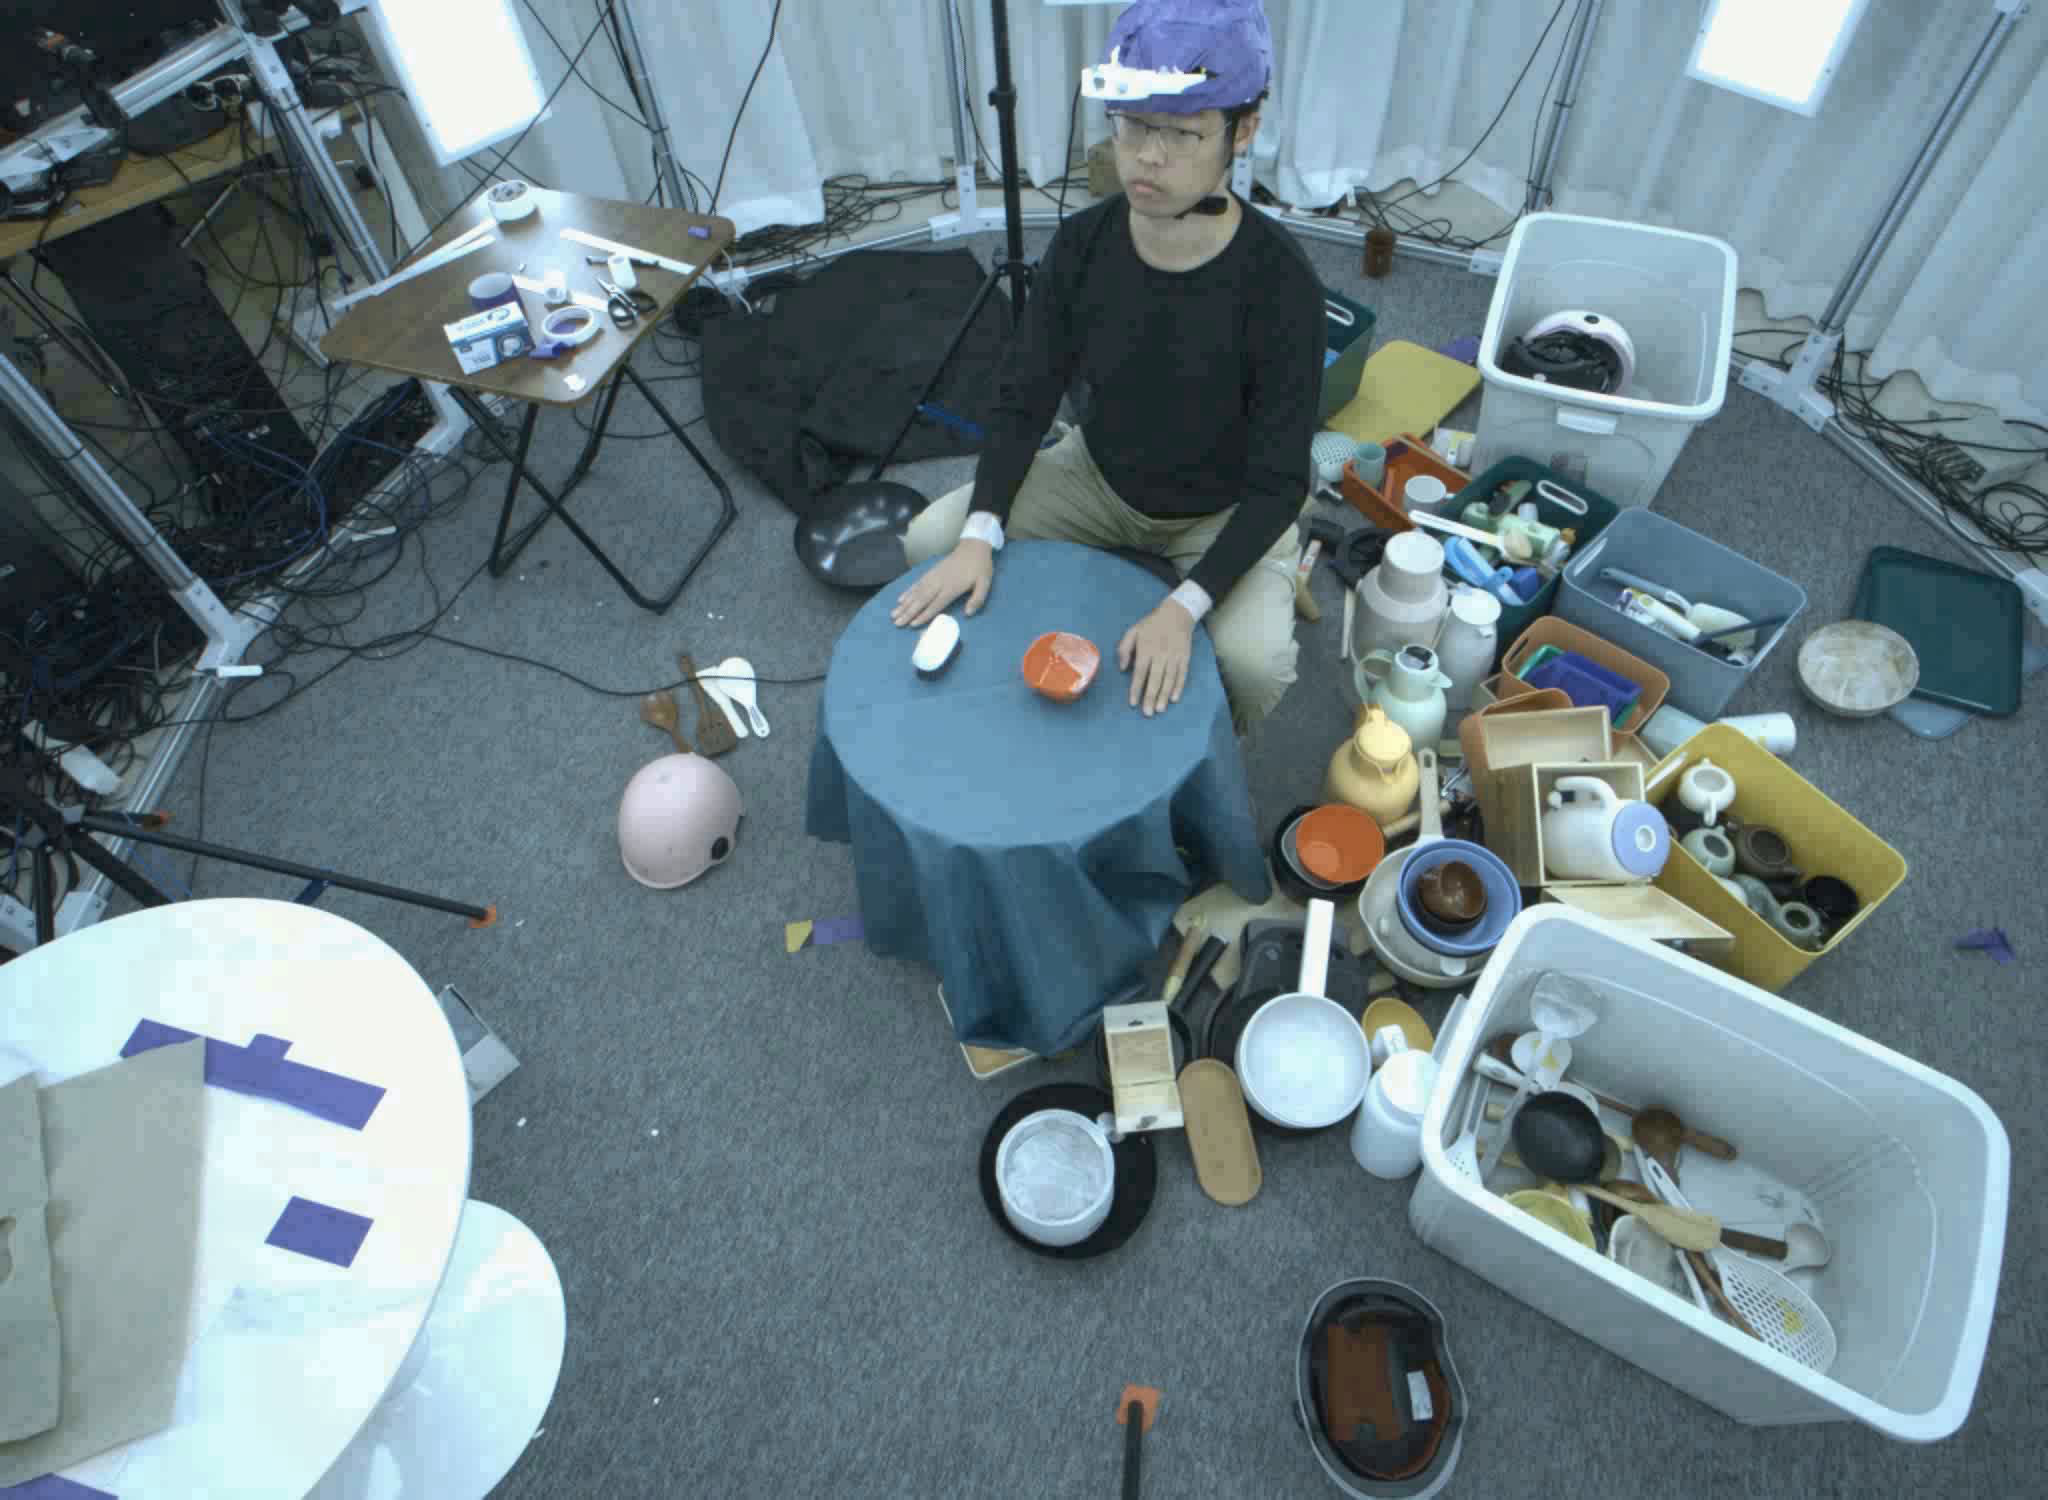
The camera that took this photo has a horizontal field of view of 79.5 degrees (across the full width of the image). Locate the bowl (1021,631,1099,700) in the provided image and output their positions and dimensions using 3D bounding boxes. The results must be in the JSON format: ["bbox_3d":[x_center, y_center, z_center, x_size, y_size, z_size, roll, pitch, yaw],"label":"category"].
[{"bbox_3d":[0.056,-0.119,1.836,0.118,0.052,0.118,-2,57,5],"label":"bowl"}]

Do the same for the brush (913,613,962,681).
[{"bbox_3d":[-0.134,-0.164,1.863,0.049,0.073,0.099,21,58,18],"label":"brush"}]
